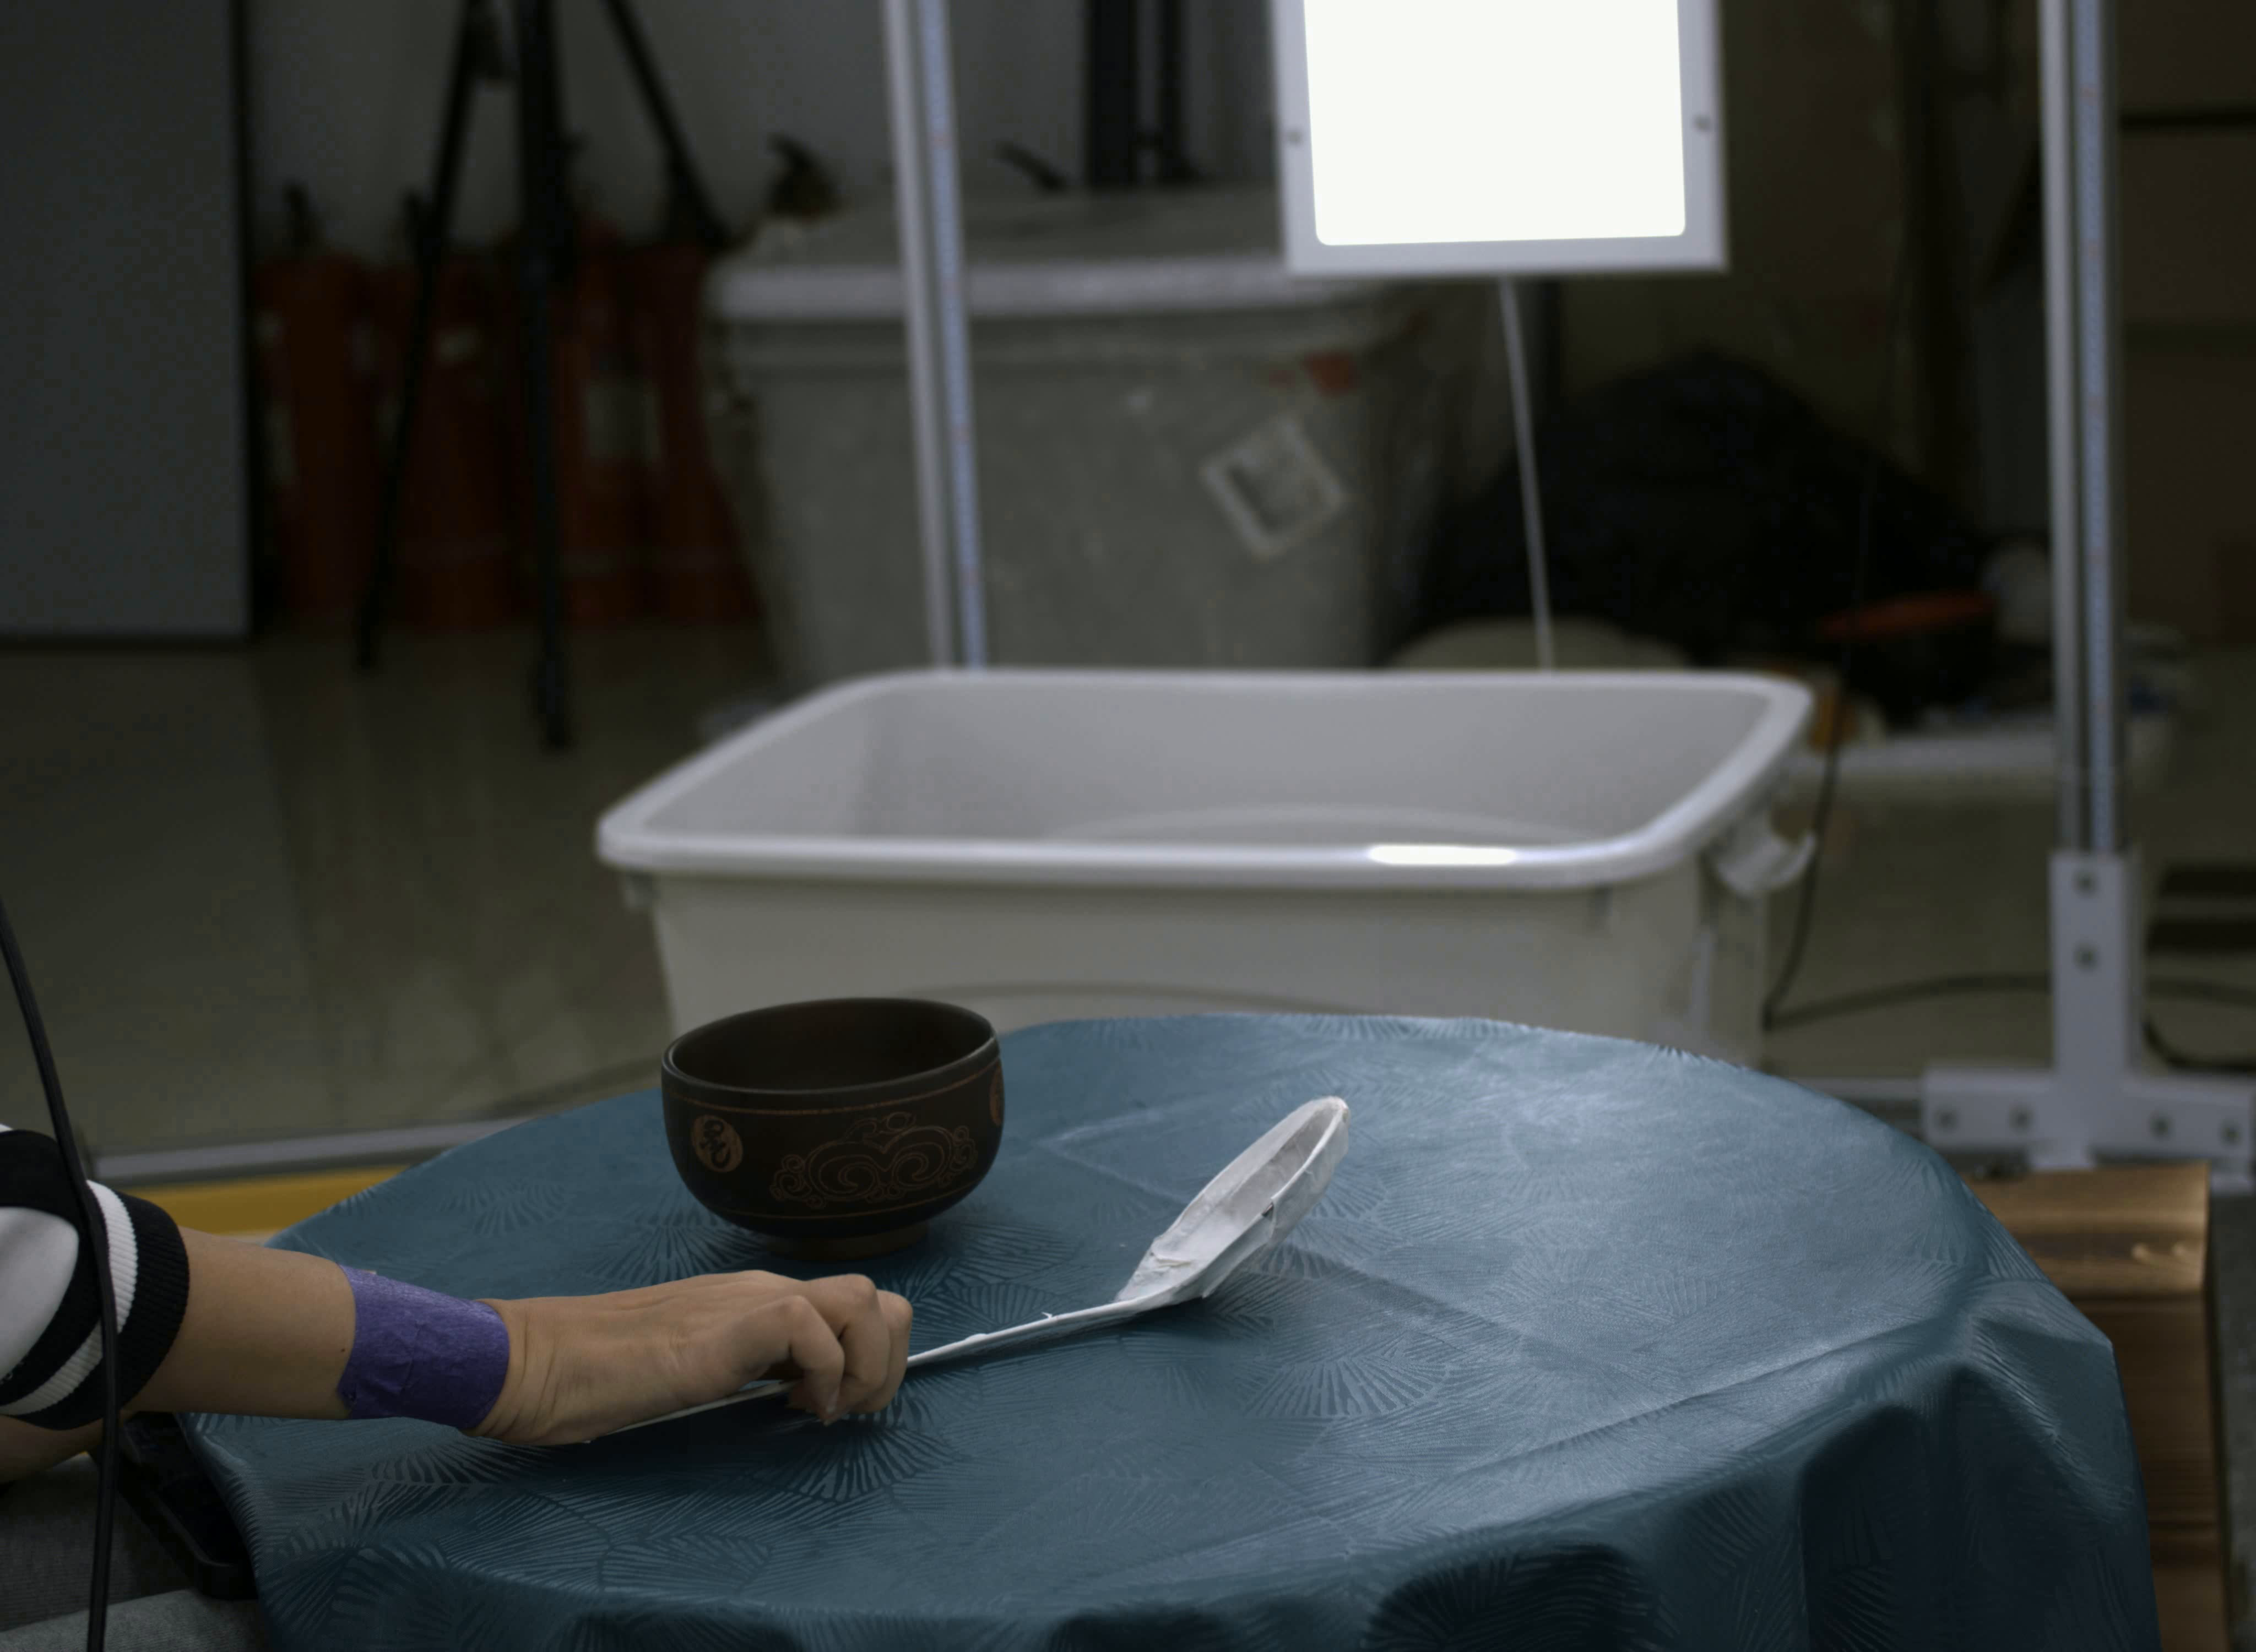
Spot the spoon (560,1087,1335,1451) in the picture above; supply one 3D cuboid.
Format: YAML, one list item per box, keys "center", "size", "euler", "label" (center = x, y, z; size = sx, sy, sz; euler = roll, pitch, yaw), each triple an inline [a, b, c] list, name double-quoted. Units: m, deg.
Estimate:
- center: [-0.056, 0.141, 1.754]
  size: [0.272, 0.059, 0.102]
  euler: [-12, -10, -19]
  label: "spoon"

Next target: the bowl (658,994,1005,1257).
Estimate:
- center: [-0.099, 0.105, 1.869]
  size: [0.118, 0.070, 0.118]
  euler: [-5, 13, 0]
  label: "bowl"
